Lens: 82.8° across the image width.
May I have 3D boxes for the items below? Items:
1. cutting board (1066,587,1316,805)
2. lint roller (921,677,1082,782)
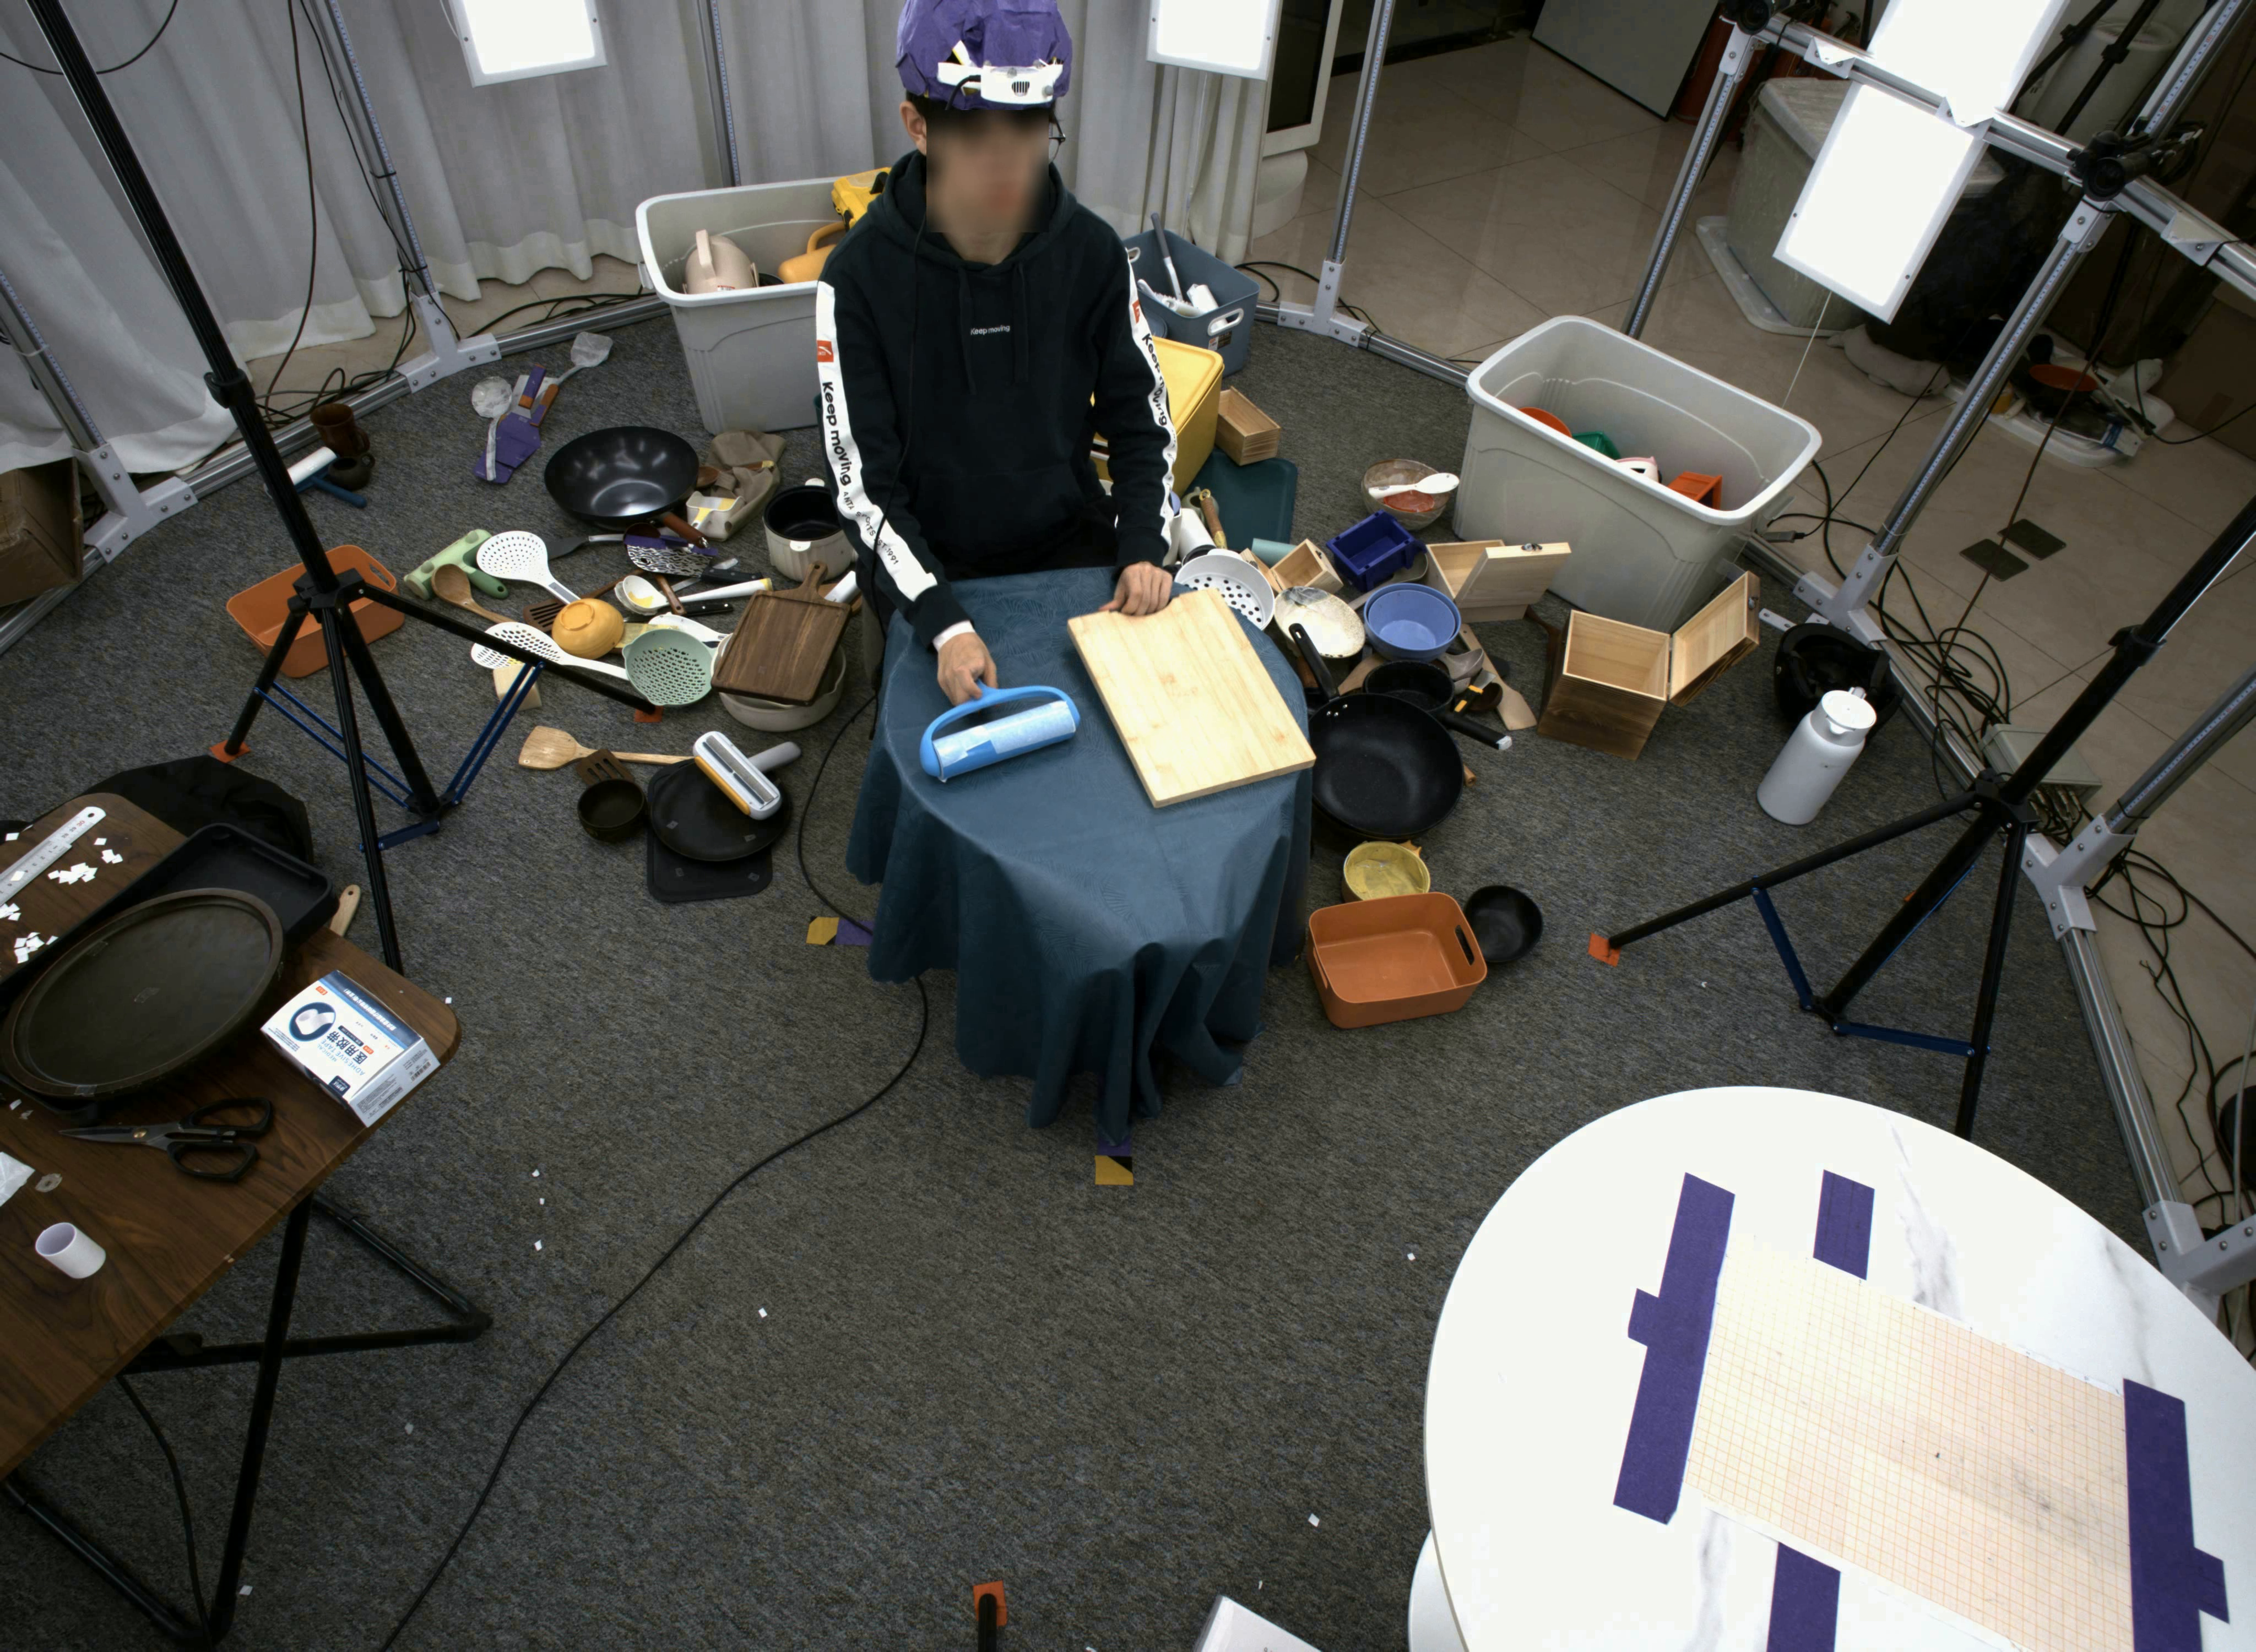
[{"bbox_3d":[0.083,-0.191,1.814,0.251,0.023,0.356,-16,56,-17],"label":"cutting board"},{"bbox_3d":[-0.197,-0.157,1.754,0.229,0.066,0.184,-23,55,-20],"label":"lint roller"}]
